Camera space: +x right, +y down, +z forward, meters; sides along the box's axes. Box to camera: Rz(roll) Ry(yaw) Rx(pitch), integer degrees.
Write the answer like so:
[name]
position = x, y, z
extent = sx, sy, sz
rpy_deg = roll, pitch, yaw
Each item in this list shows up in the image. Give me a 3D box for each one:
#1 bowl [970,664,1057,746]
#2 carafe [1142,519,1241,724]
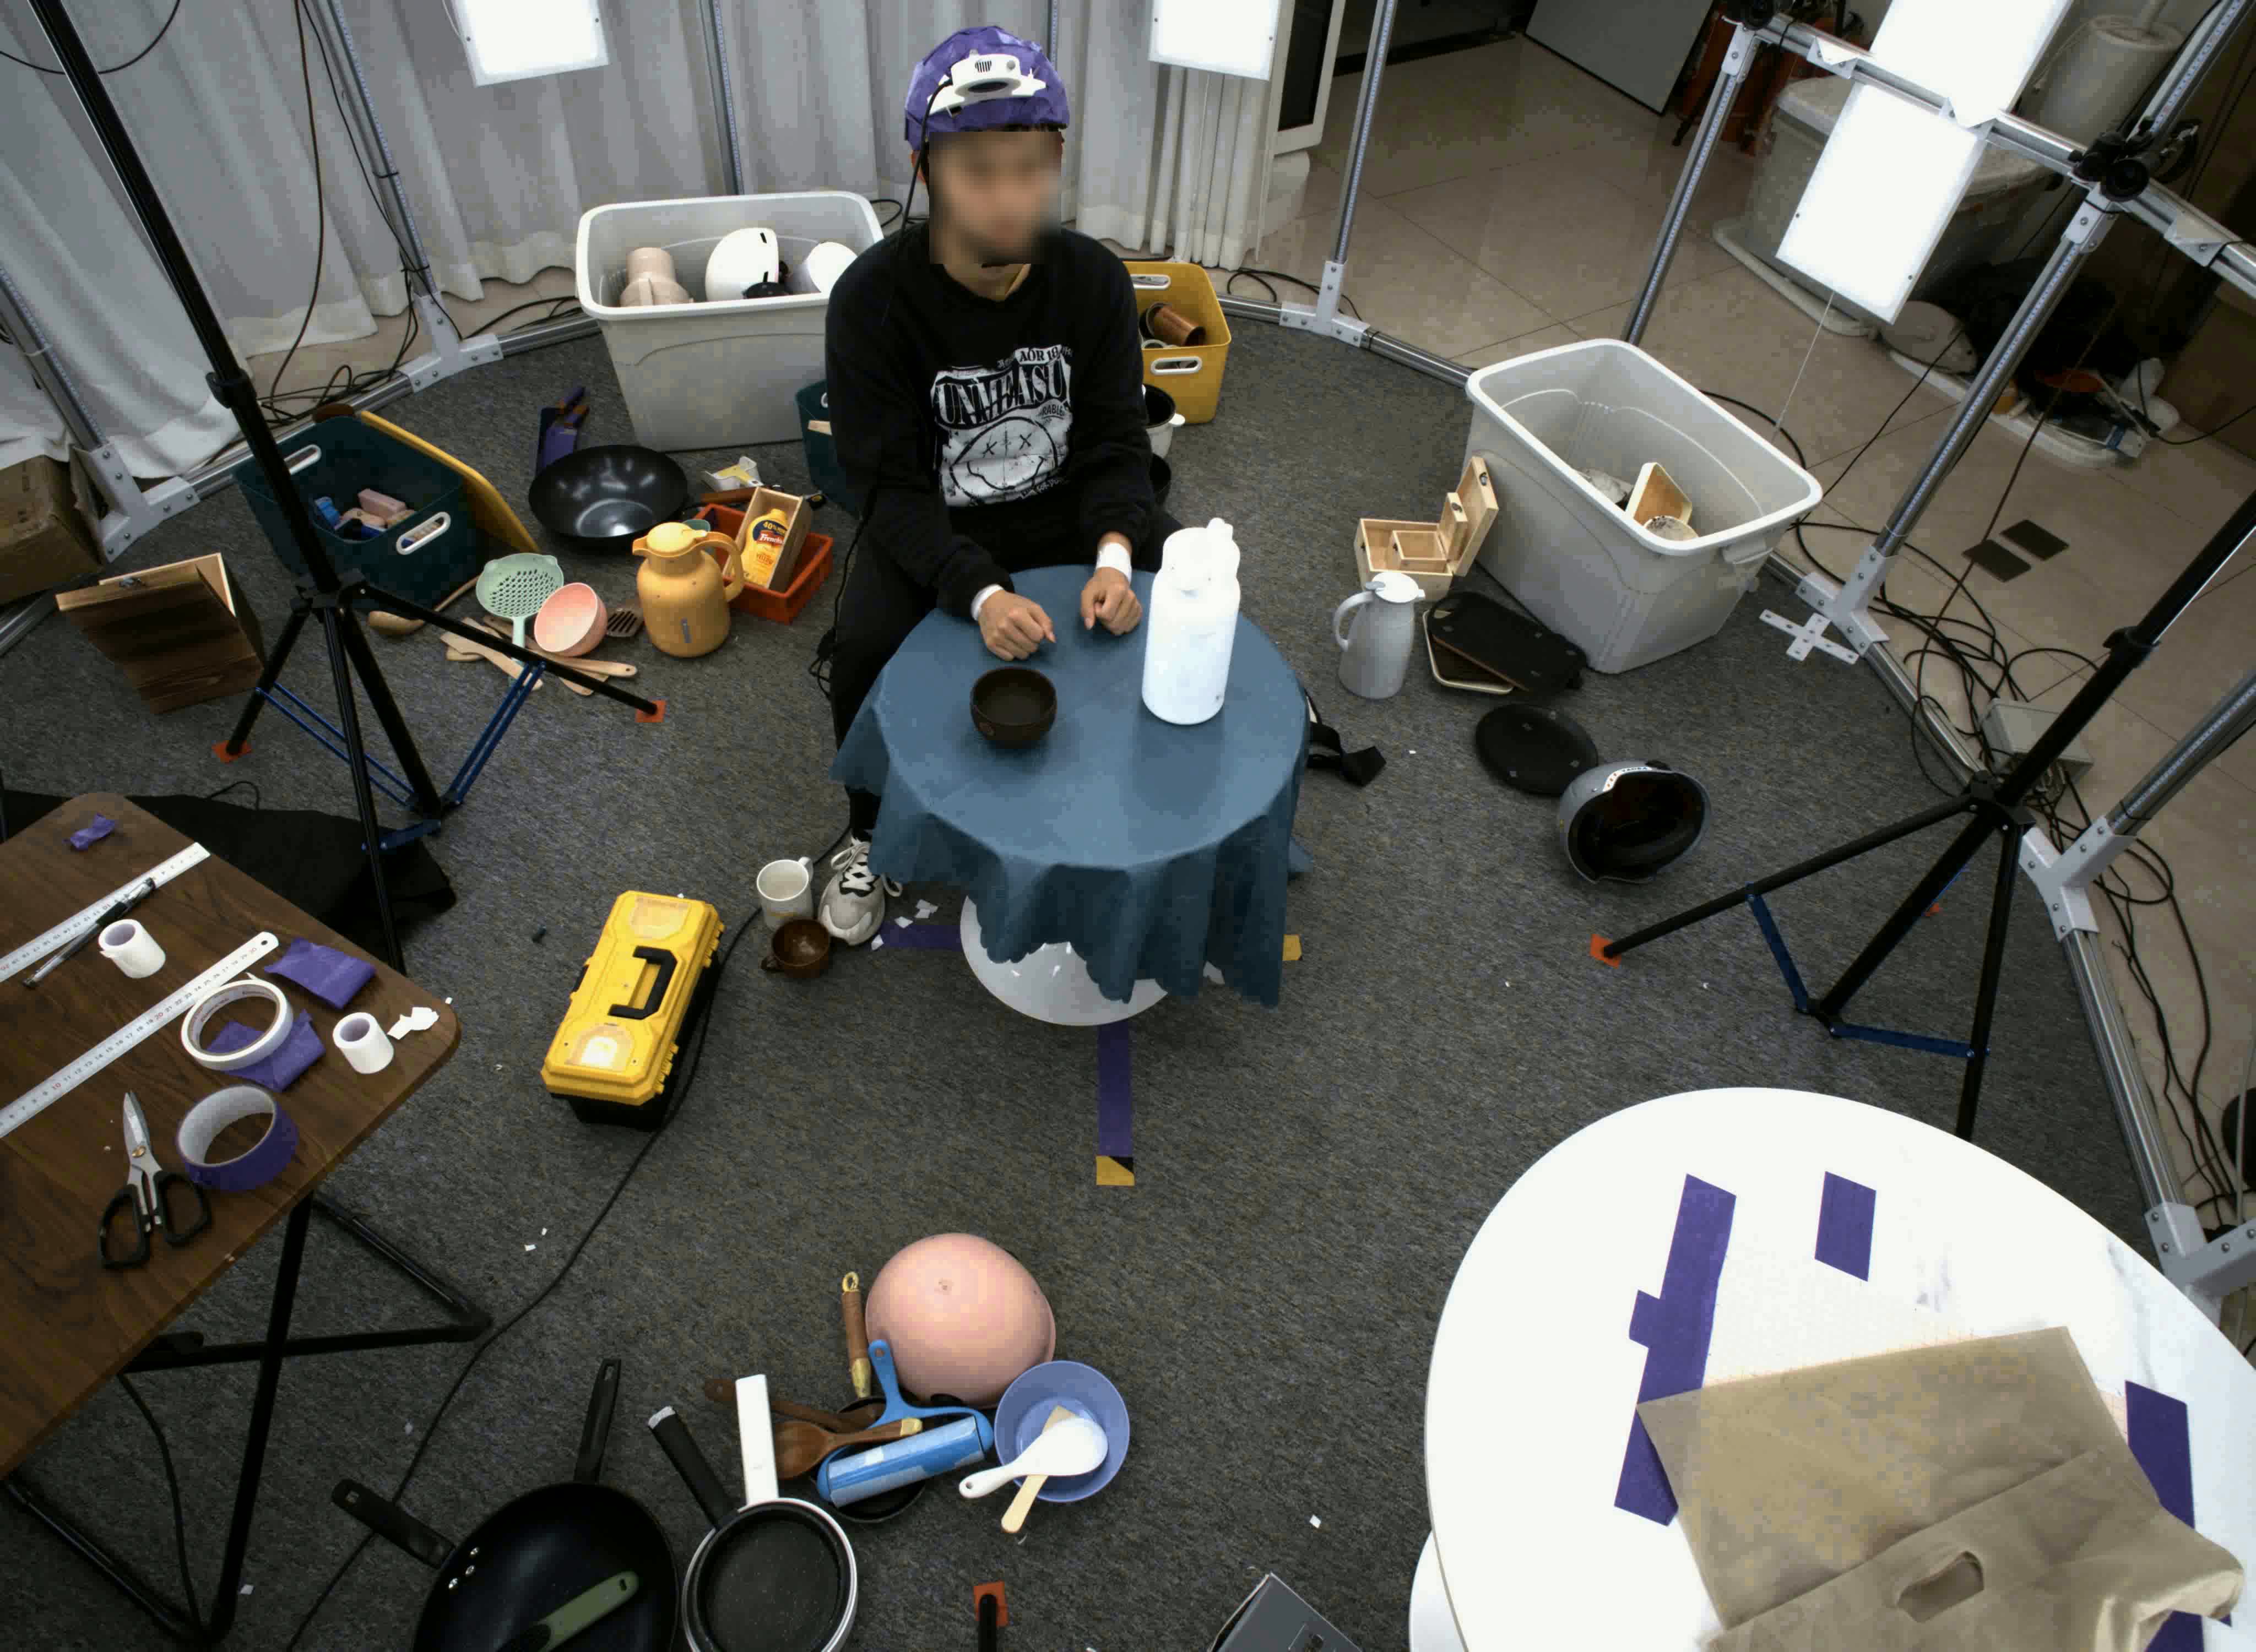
[bowl]
position = -0.155, -0.156, 1.747
extent = 0.118, 0.068, 0.121
rpy_deg = 2, 49, -2
[carafe]
position = 0.089, -0.280, 1.746
extent = 0.124, 0.262, 0.176
rpy_deg = 16, 50, 12
